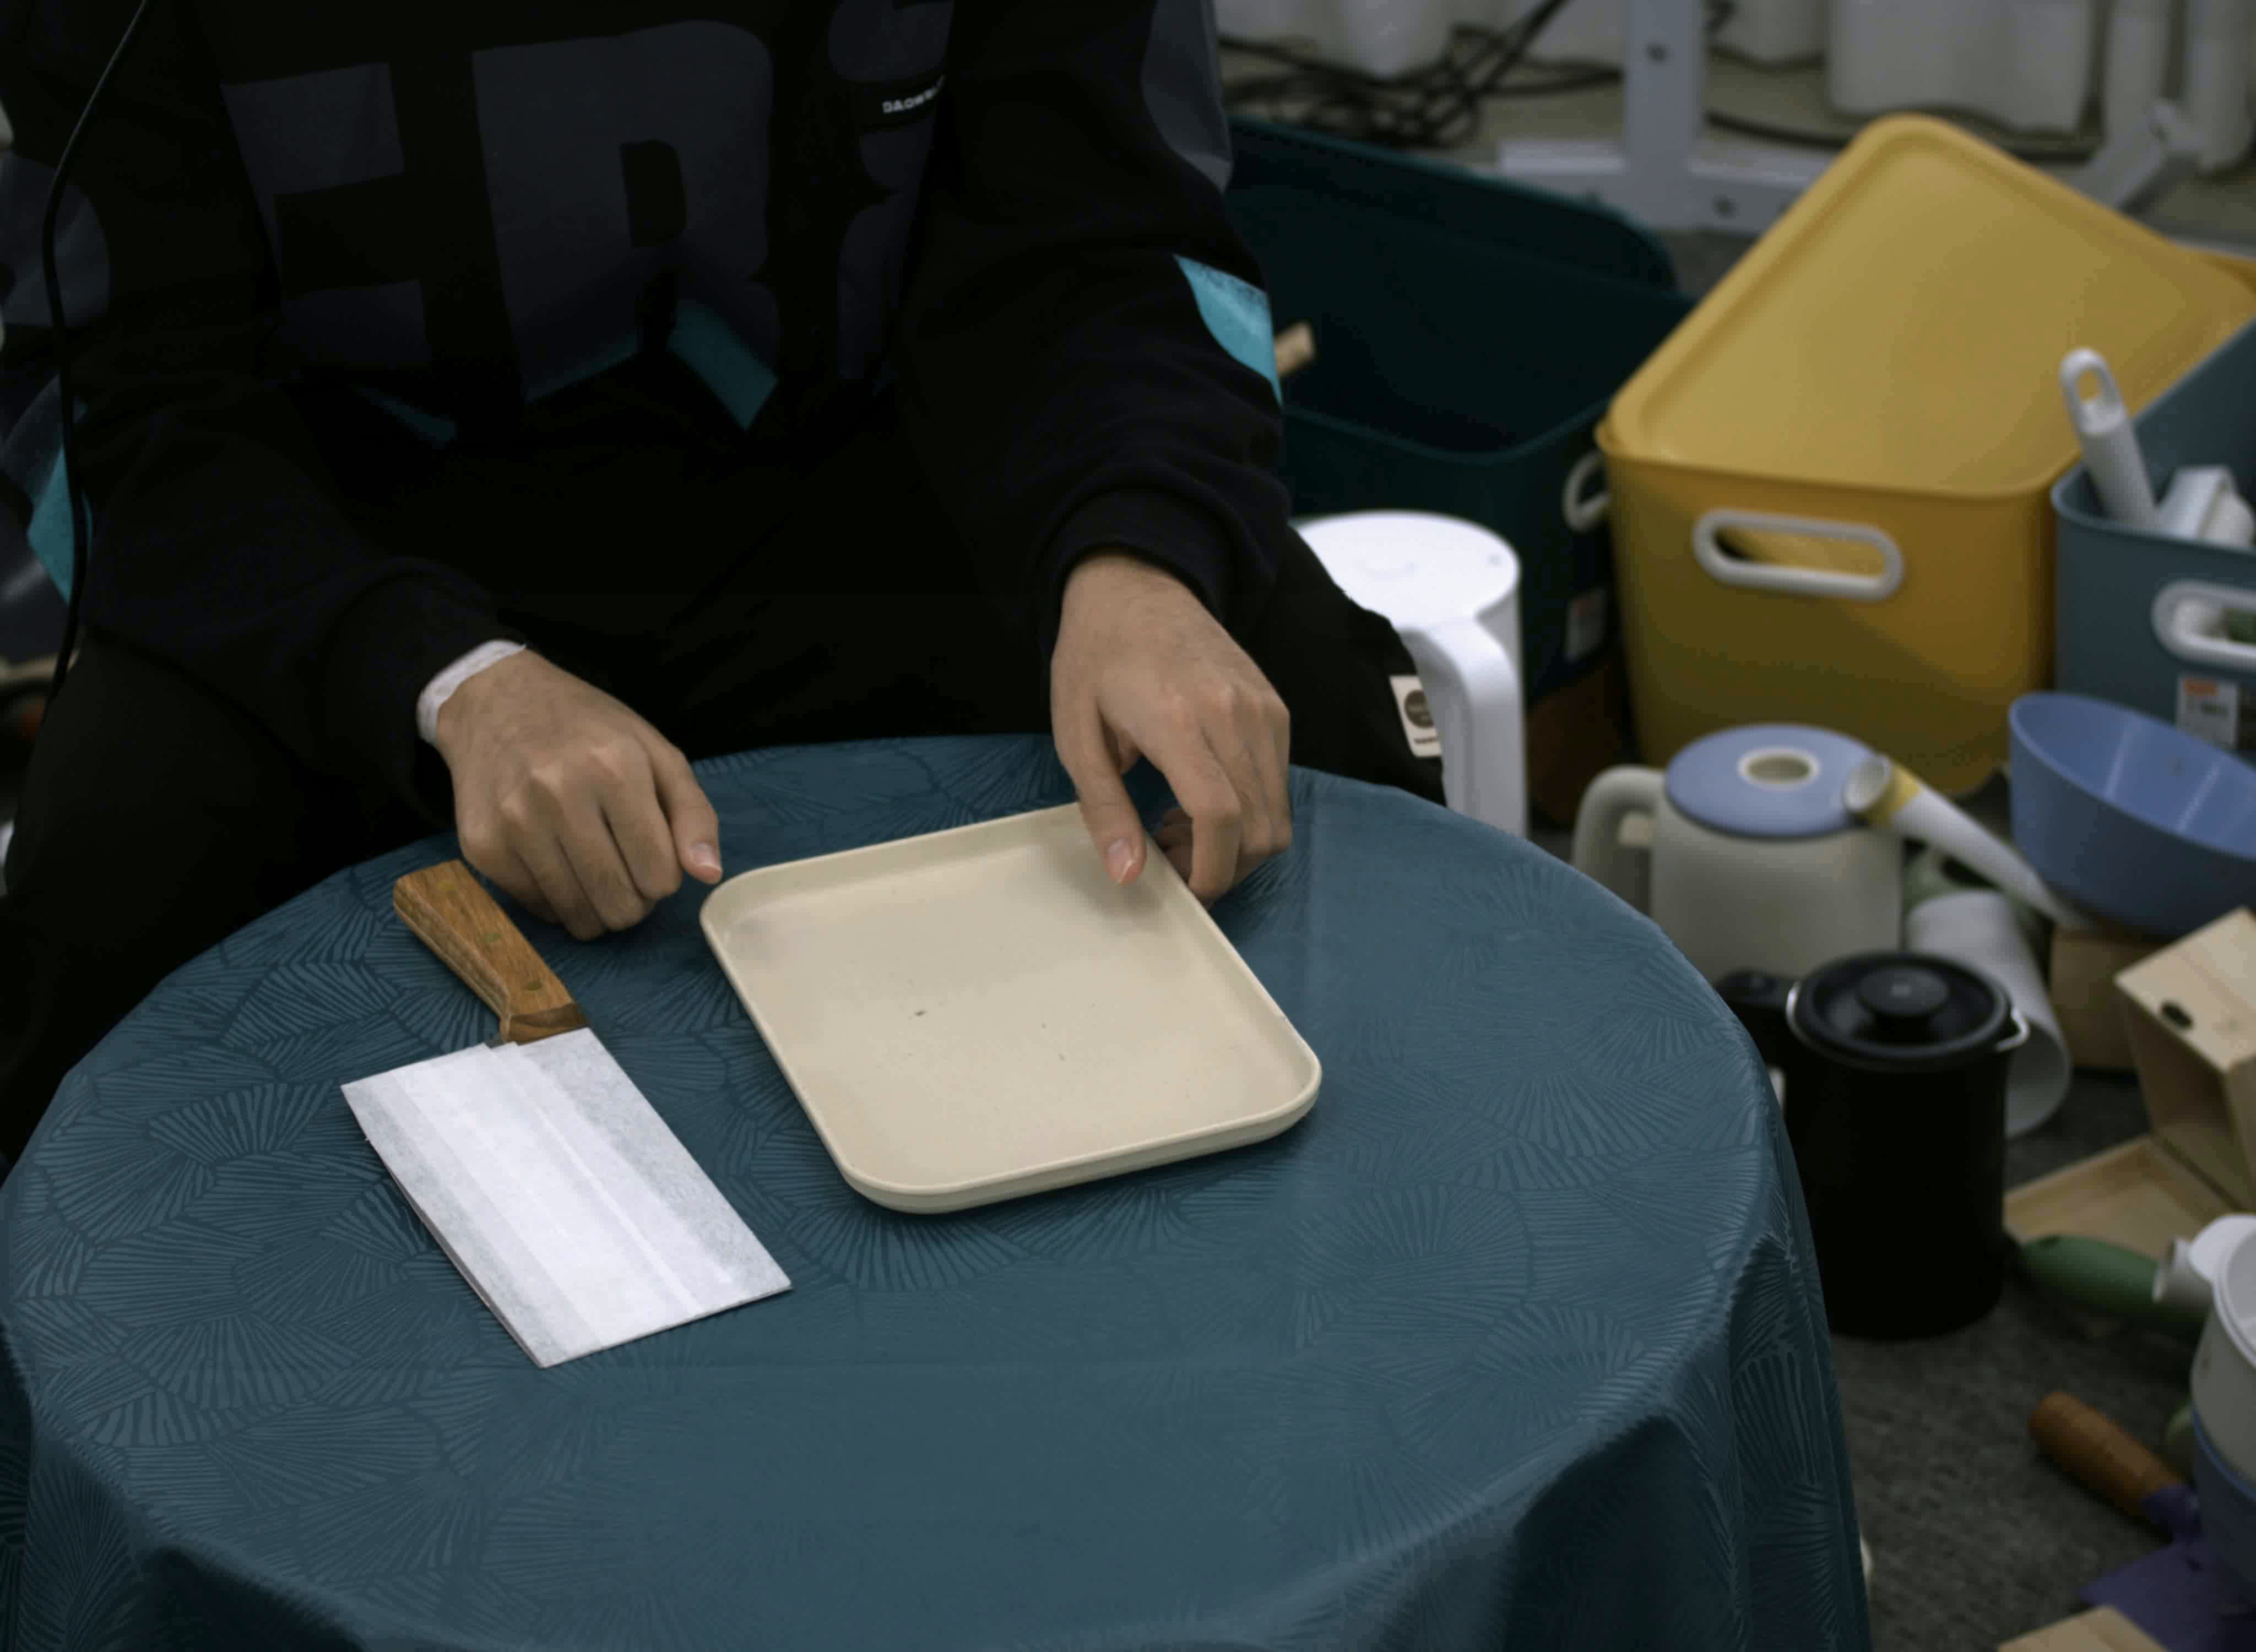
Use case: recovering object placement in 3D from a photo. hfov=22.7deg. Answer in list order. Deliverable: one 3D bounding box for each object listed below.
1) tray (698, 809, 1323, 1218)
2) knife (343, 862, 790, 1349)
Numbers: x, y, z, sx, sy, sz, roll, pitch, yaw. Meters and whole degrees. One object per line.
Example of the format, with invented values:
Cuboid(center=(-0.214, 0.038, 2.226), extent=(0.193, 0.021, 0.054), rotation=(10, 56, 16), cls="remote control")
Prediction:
Cuboid(center=(-0.044, 0.064, 1.958), extent=(0.171, 0.017, 0.242), rotation=(-12, 29, -15), cls="tray")
Cuboid(center=(-0.214, 0.095, 1.918), extent=(0.093, 0.021, 0.308), rotation=(-16, 33, -21), cls="knife")
